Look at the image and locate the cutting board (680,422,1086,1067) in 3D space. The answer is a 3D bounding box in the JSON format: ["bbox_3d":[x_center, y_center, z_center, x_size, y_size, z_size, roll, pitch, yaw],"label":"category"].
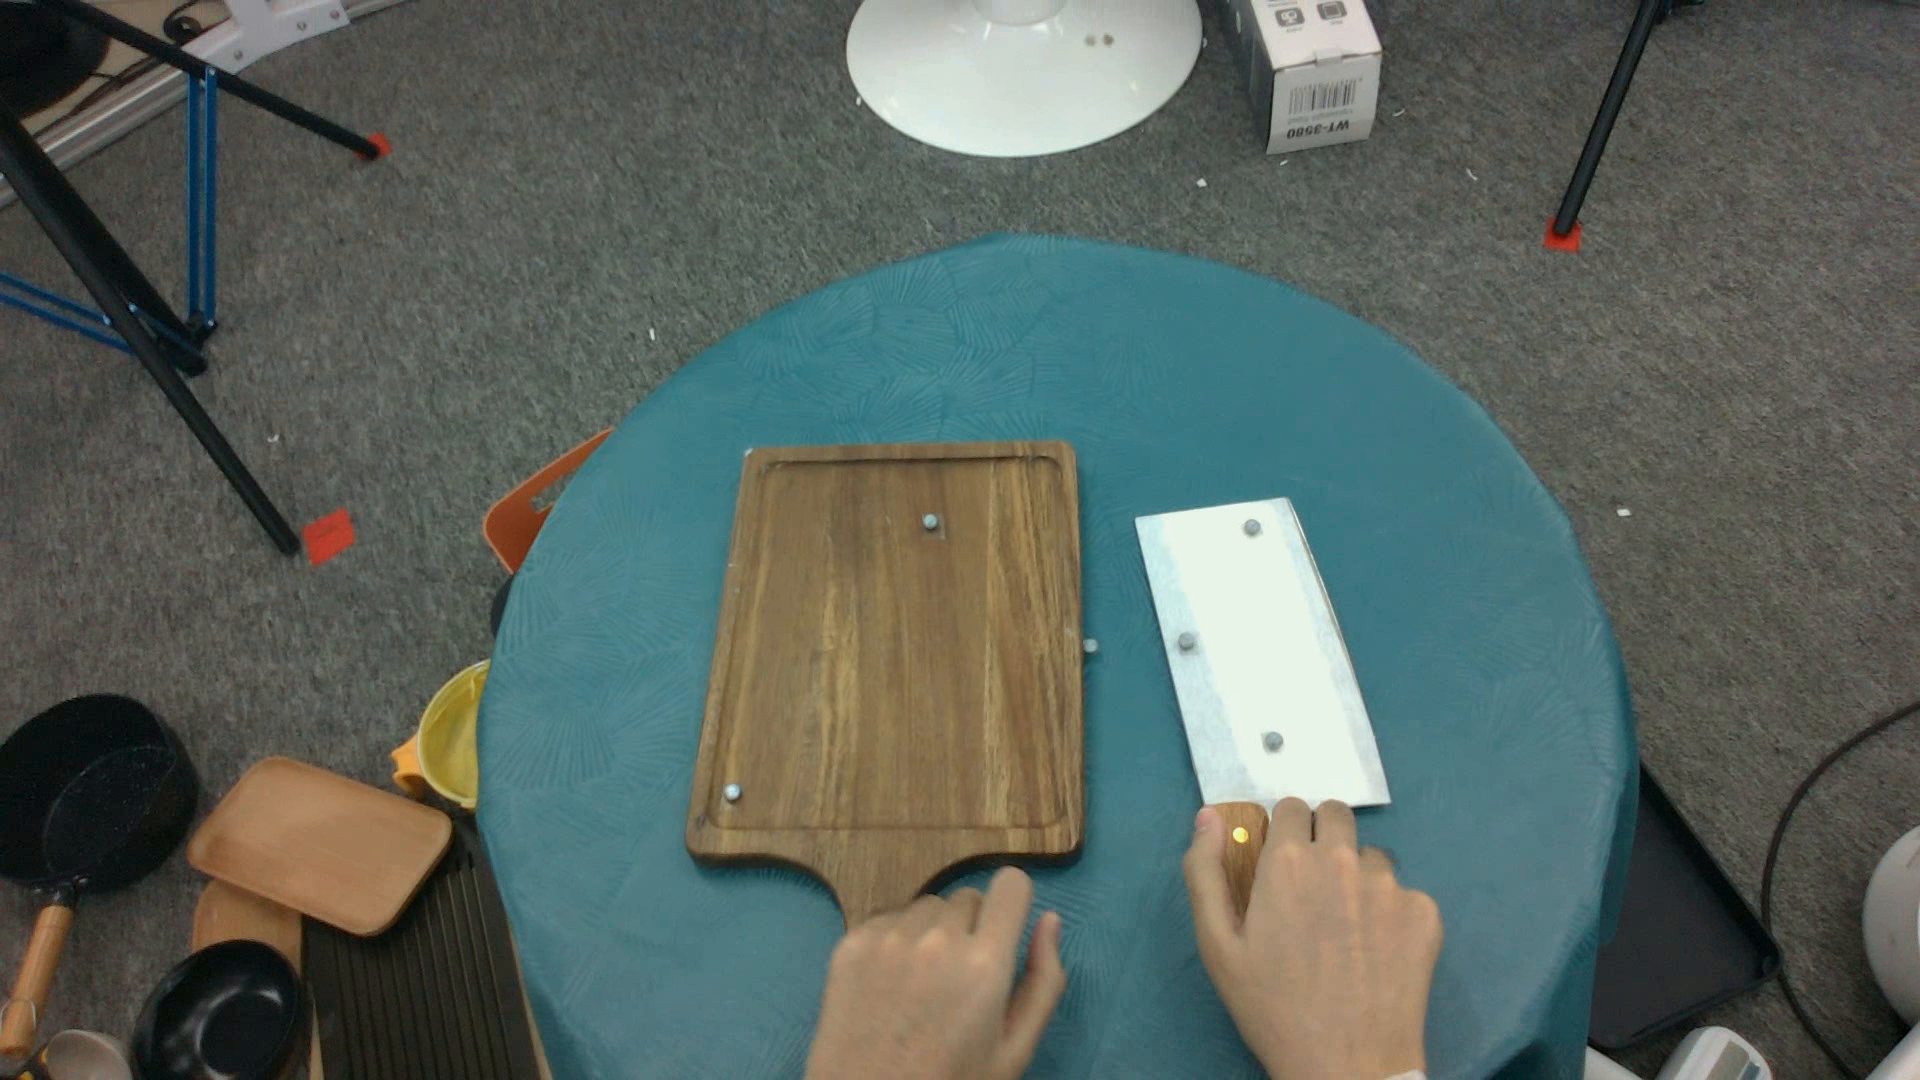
[{"bbox_3d":[-0.038,0.085,0.707,0.201,0.023,0.353,-2,56,4],"label":"cutting board"}]

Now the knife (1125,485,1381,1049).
[{"bbox_3d":[0.155,0.093,0.688,0.093,0.021,0.307,-8,53,-2],"label":"knife"}]
